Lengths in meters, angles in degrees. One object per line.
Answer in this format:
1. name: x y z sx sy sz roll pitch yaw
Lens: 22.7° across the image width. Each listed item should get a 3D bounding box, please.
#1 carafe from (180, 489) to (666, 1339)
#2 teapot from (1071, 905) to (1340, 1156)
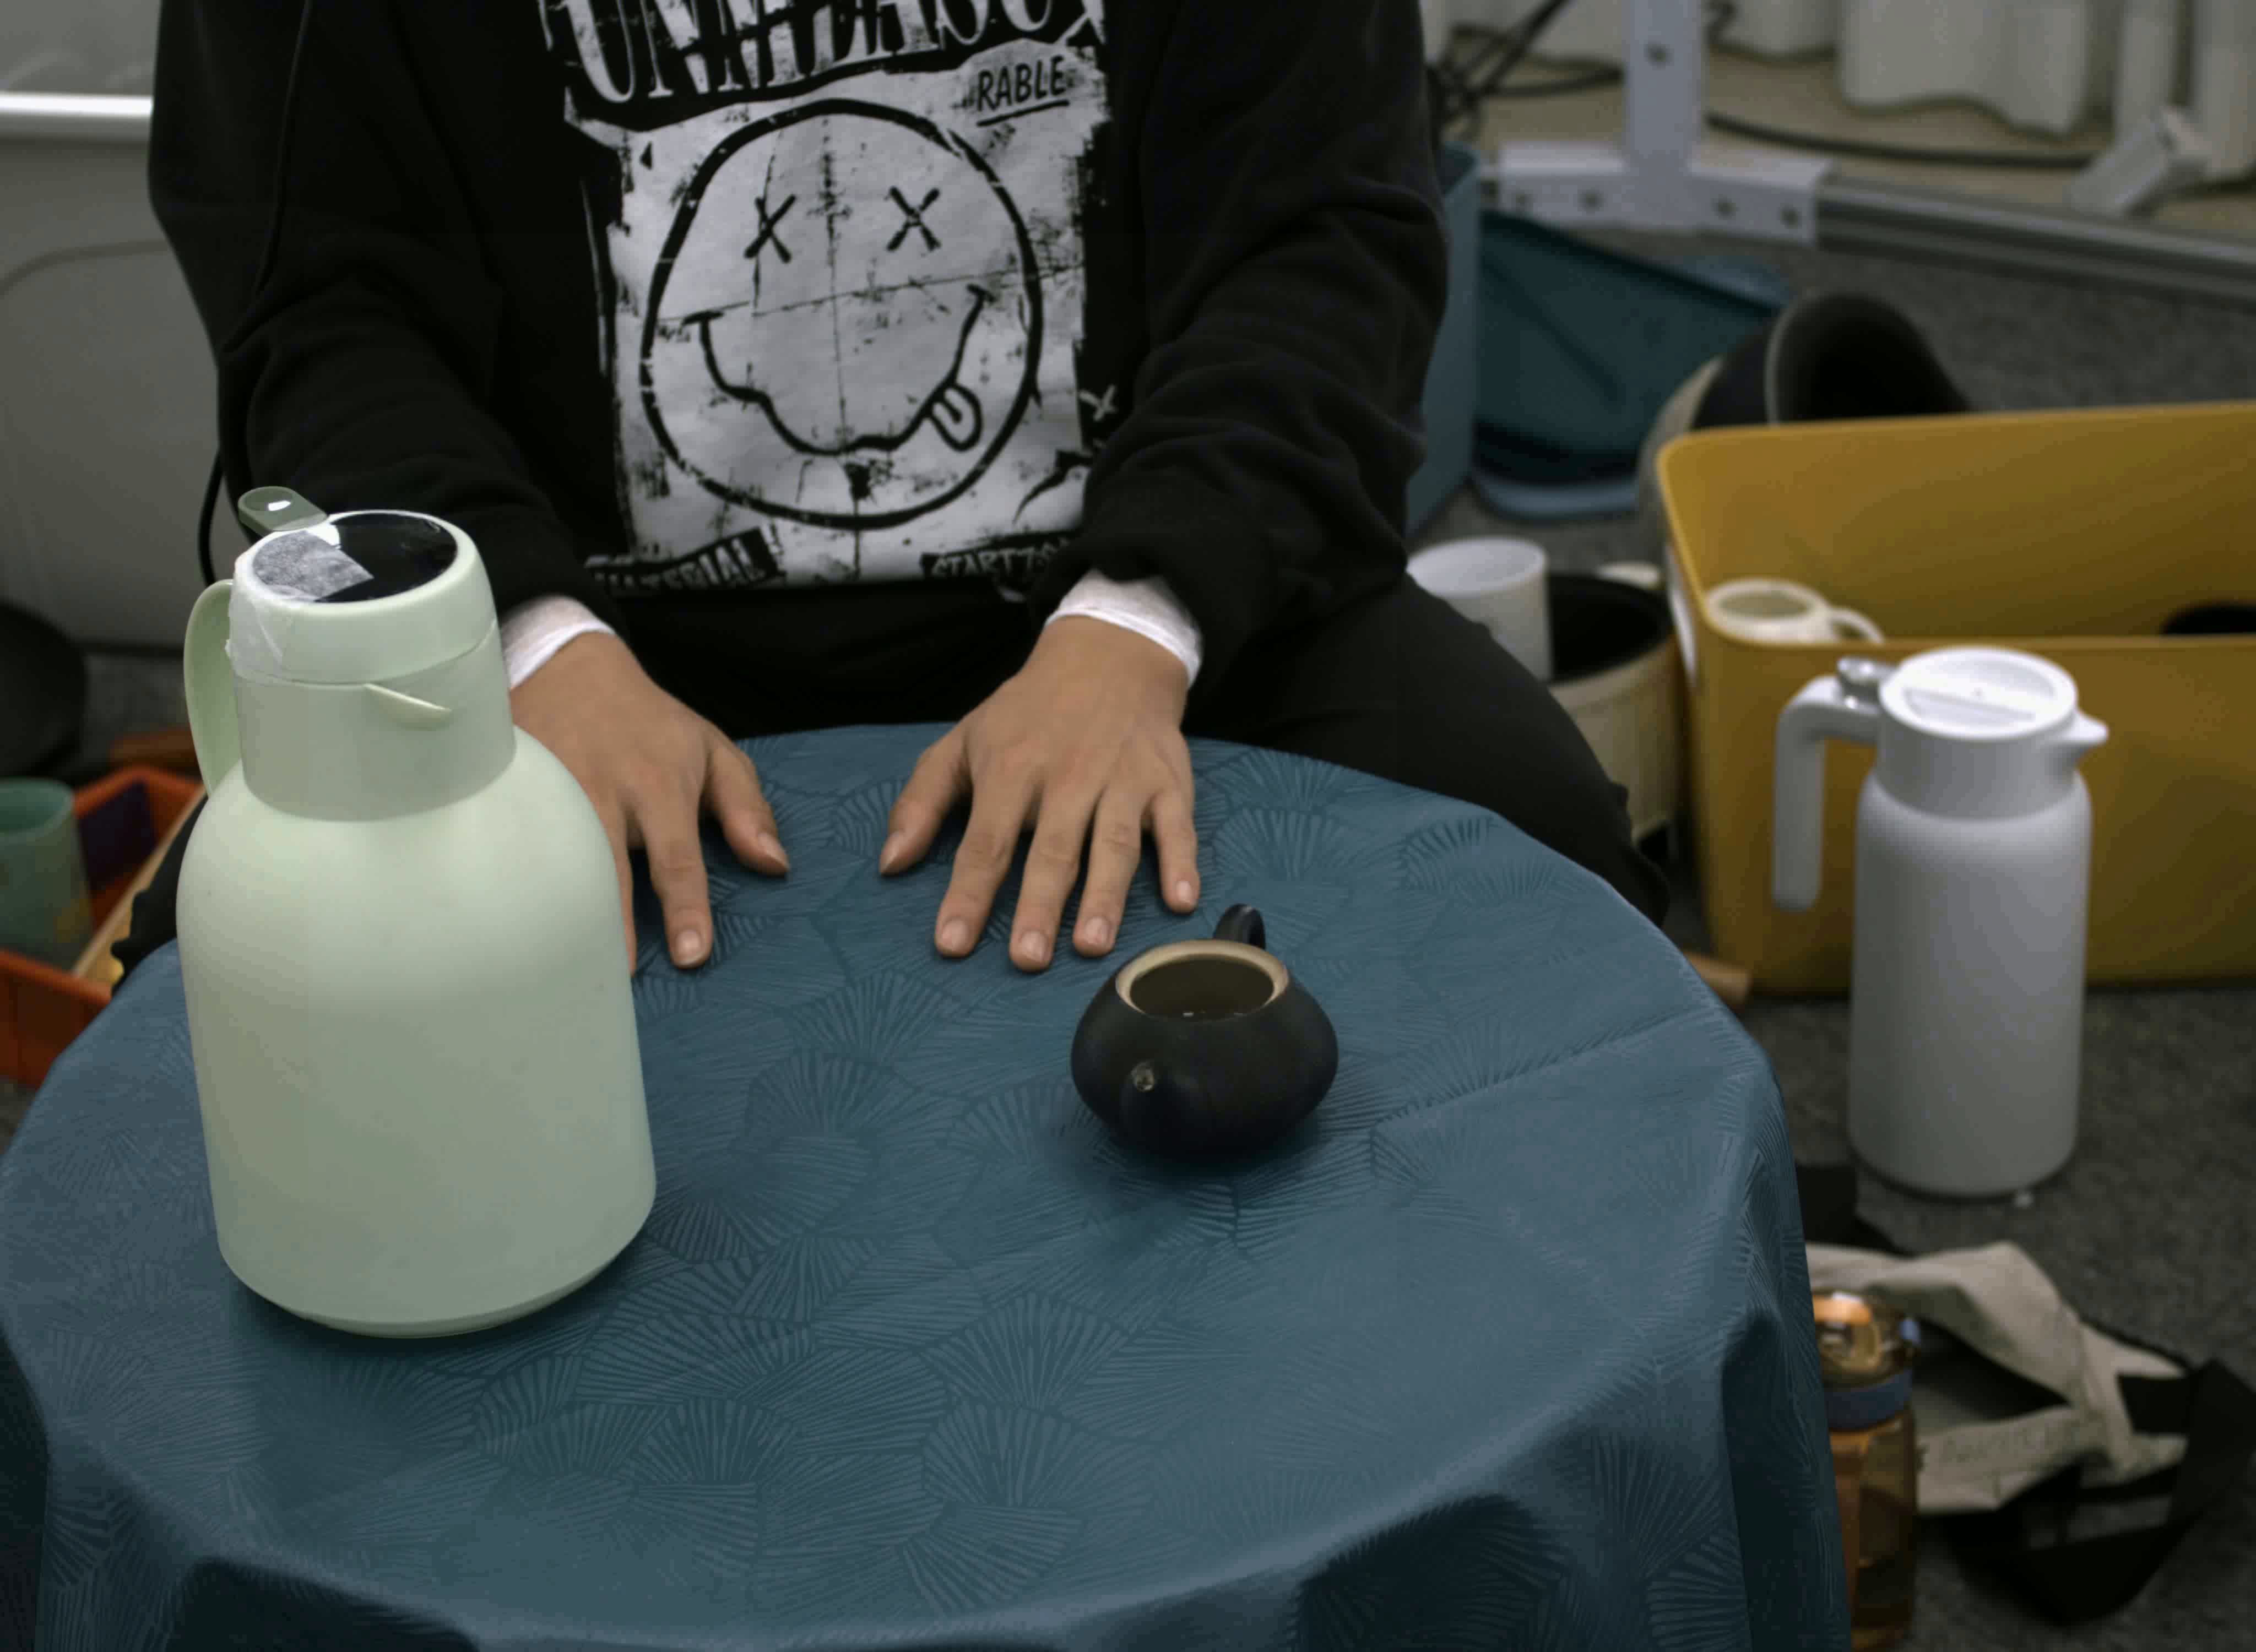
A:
1. carafe: -0.241 0.022 1.807 0.145 0.254 0.187 -22 29 -31
2. teapot: 0.026 0.075 1.890 0.090 0.052 0.135 7 29 15
